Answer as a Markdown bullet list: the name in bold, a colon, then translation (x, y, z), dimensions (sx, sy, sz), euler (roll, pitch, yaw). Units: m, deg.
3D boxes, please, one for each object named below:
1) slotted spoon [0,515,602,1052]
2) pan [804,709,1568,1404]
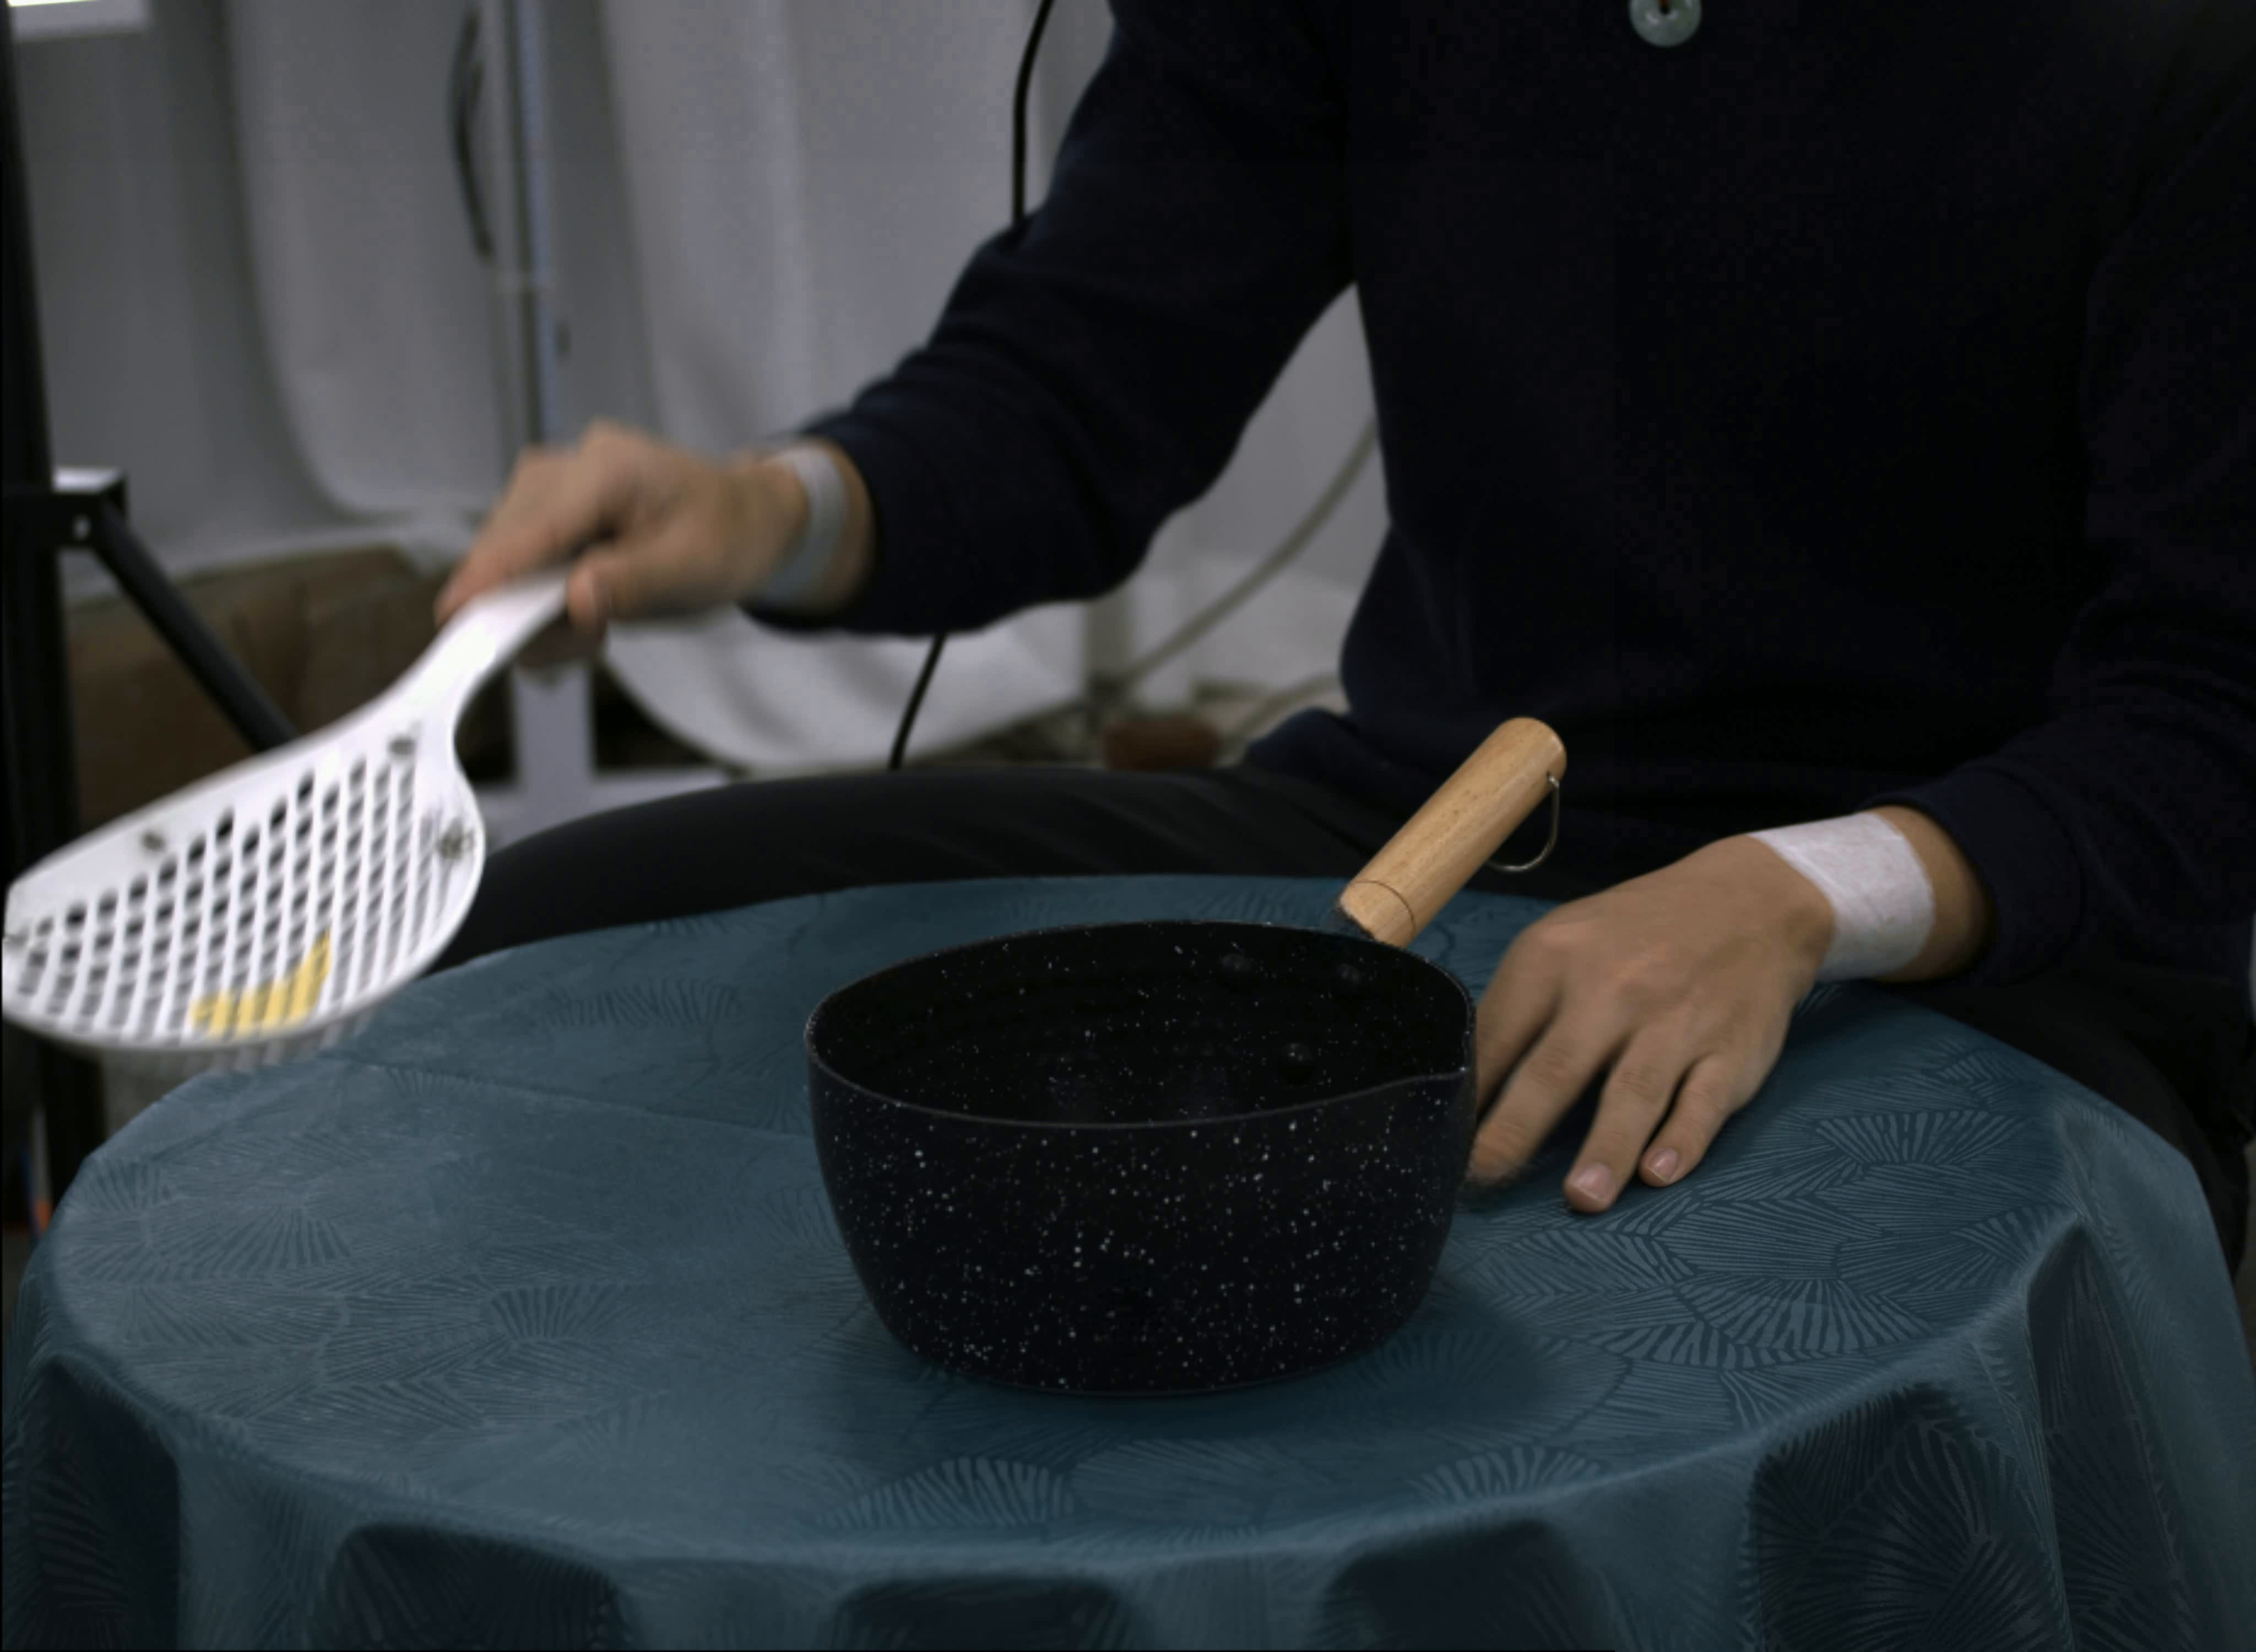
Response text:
- **slotted spoon**: translation (-0.211, -0.025, 1.537), dimensions (0.138, 0.050, 0.347), euler (2, 33, 17)
- **pan**: translation (0.043, 0.061, 1.521), dimensions (0.211, 0.108, 0.337), euler (5, 19, 29)
